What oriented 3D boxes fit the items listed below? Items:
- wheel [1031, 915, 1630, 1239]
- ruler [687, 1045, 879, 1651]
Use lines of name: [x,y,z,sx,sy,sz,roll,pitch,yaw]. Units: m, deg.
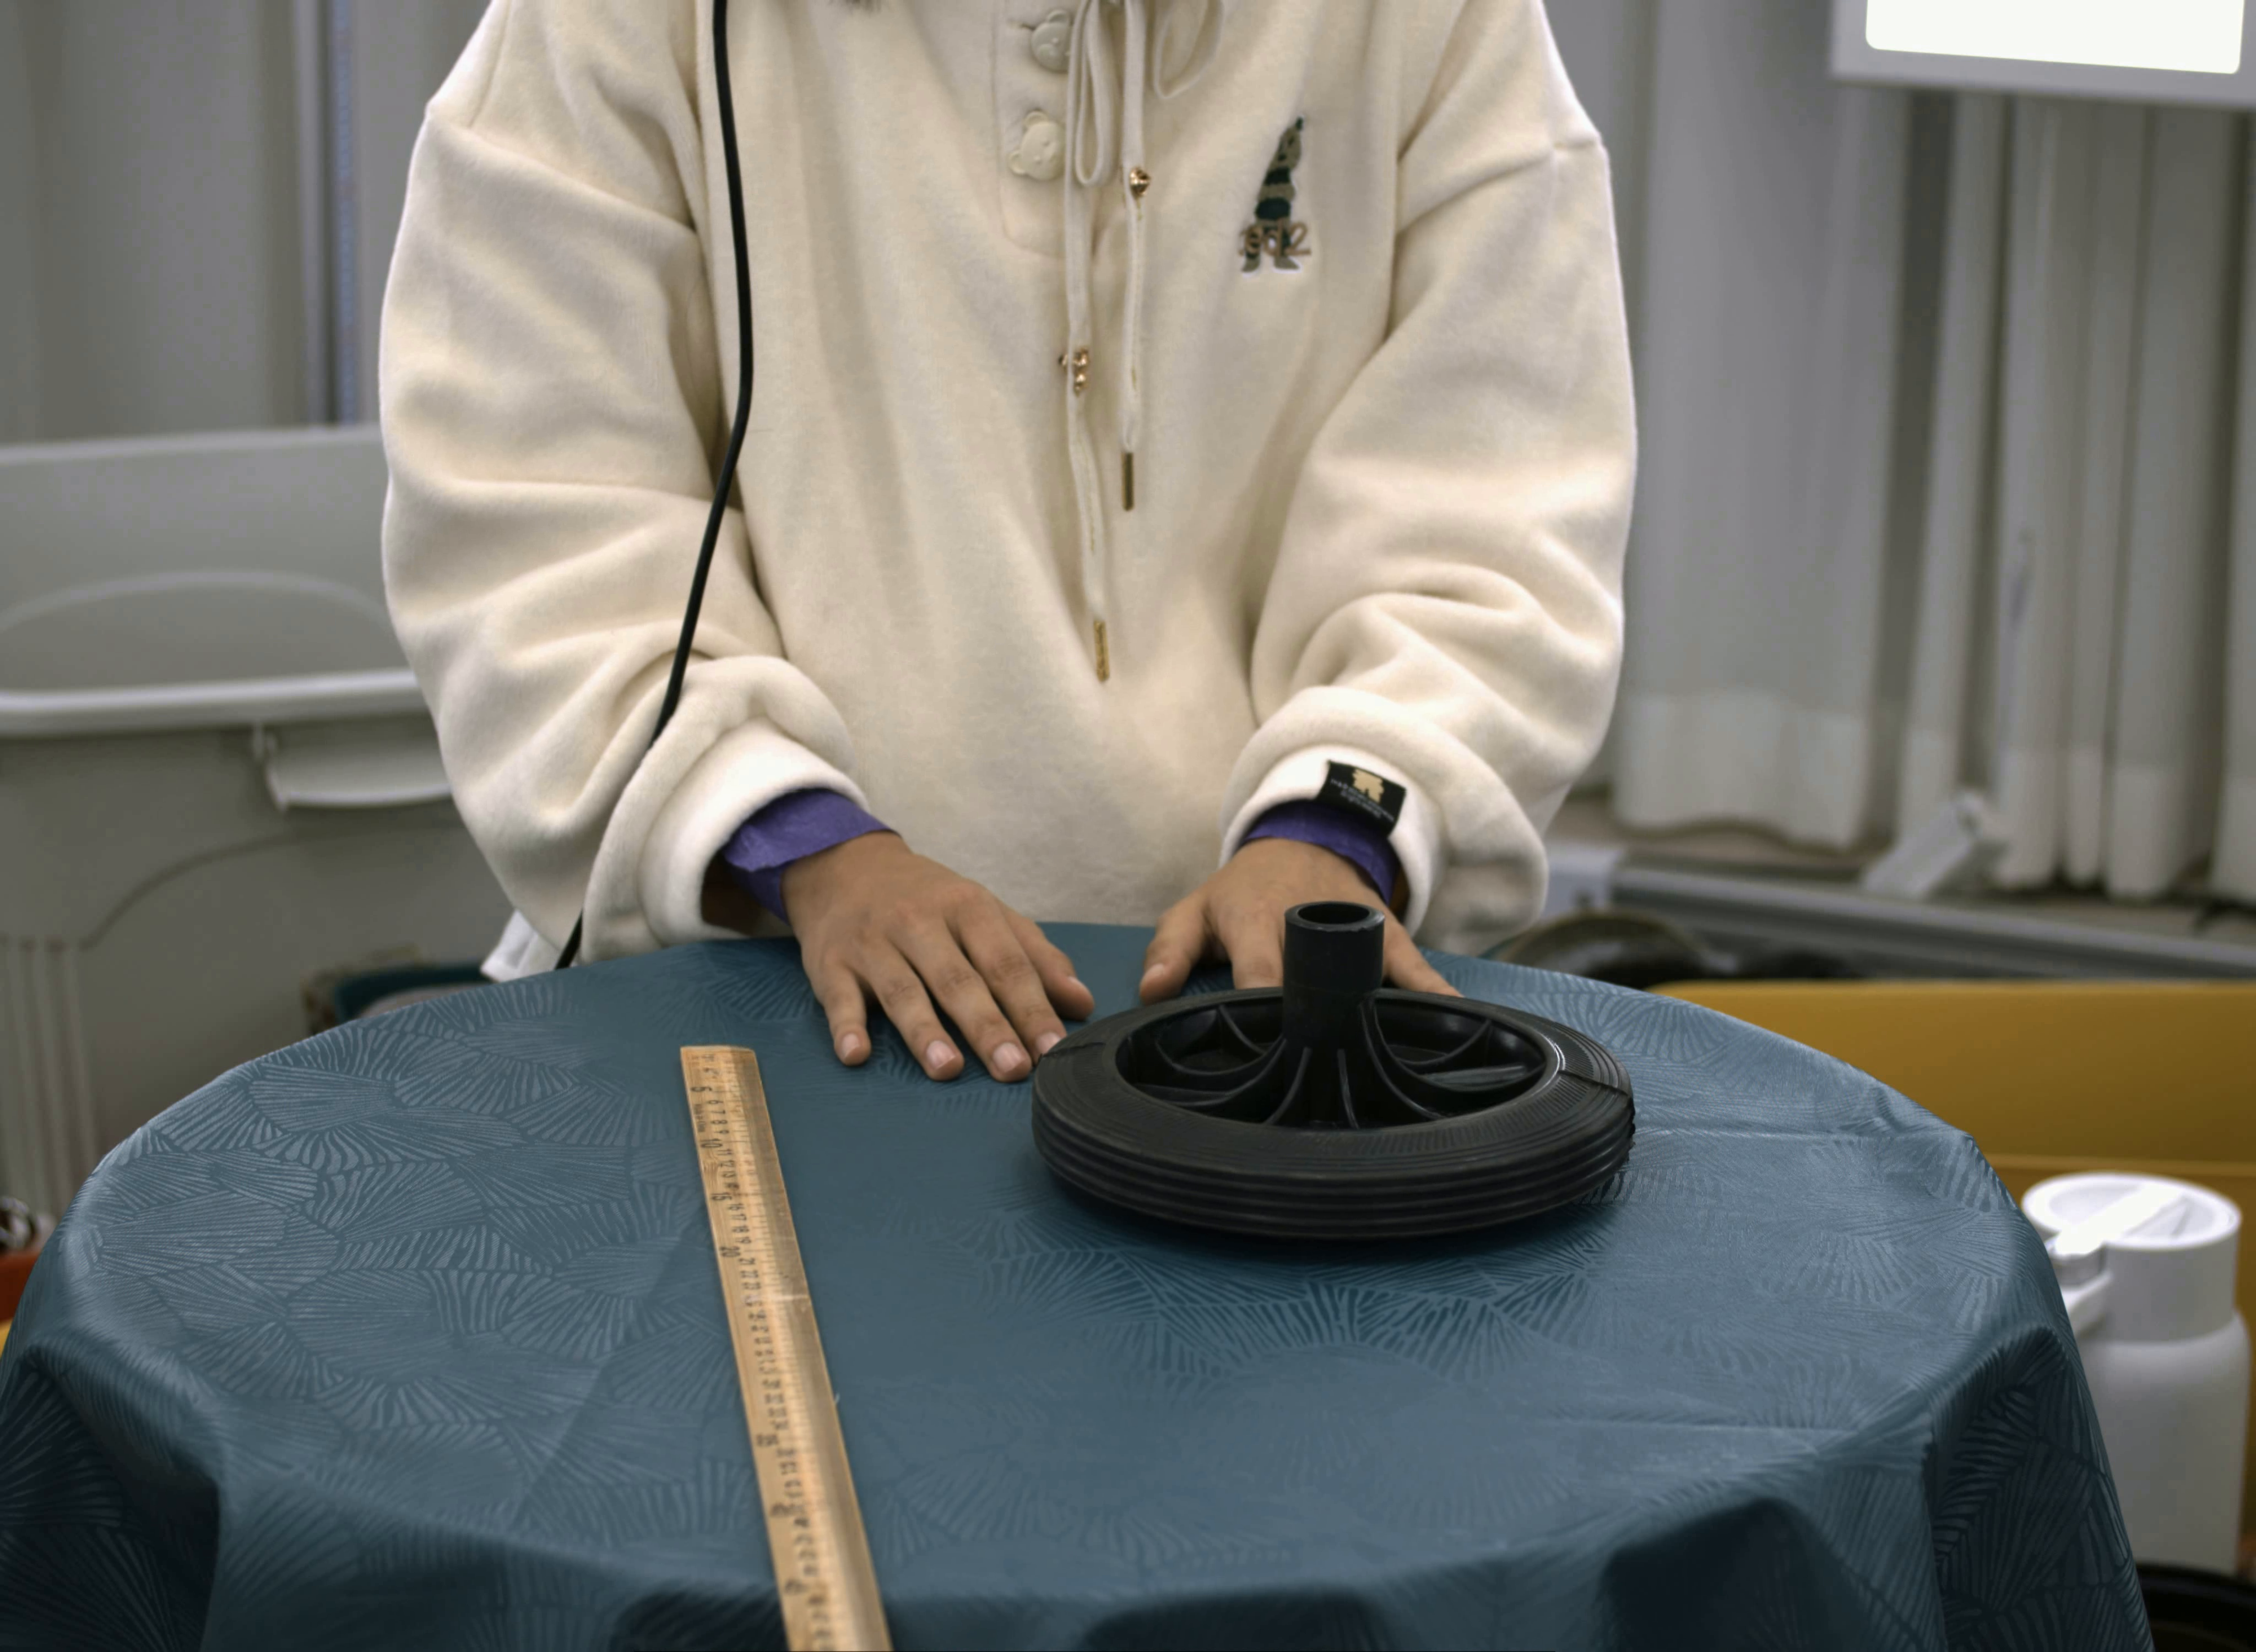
wheel: [0.064,0.069,1.636,0.191,0.080,0.185,-13,20,-41]
ruler: [-0.103,0.140,1.508,0.027,0.006,0.496,-3,16,-7]
